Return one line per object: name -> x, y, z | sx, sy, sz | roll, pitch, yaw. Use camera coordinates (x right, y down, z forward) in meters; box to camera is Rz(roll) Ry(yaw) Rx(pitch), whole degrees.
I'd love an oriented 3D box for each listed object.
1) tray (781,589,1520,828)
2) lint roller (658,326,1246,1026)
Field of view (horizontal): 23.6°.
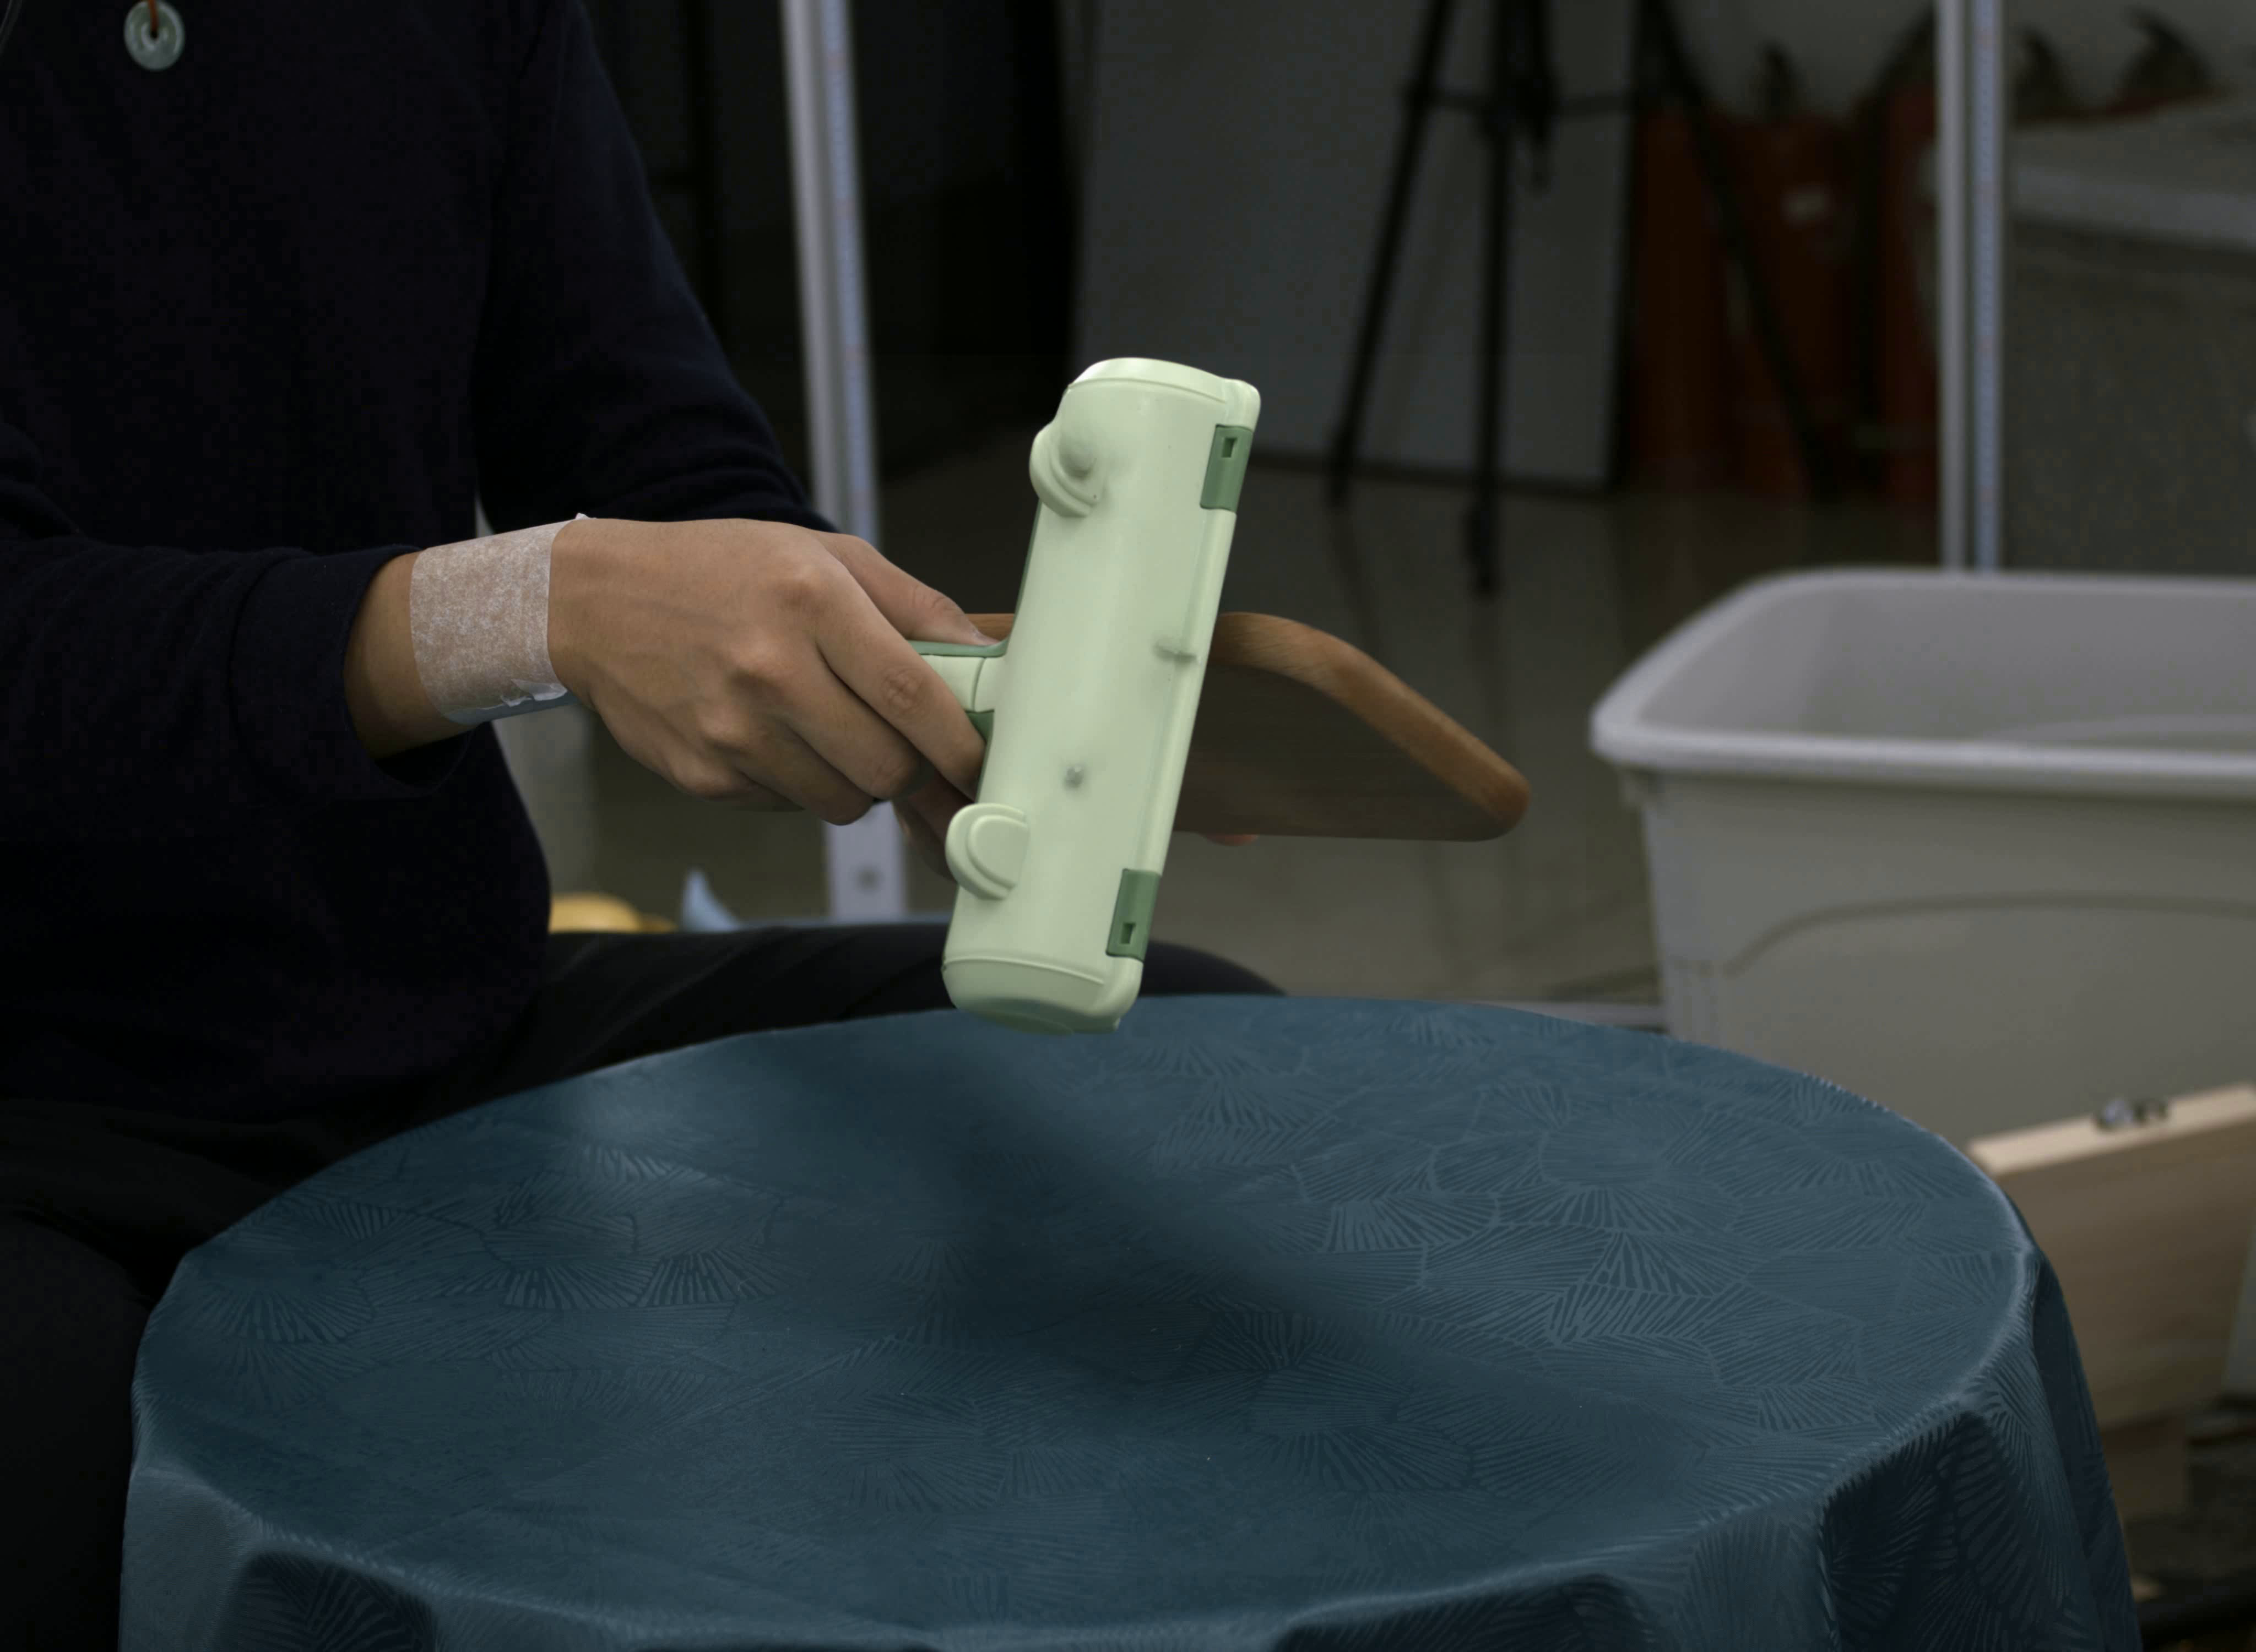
tray -> 0.002, -0.034, 1.659 | 0.253, 0.023, 0.128 | 0, -31, 49
lint roller -> -0.065, -0.049, 1.550 | 0.183, 0.200, 0.081 | 4, -17, 23
